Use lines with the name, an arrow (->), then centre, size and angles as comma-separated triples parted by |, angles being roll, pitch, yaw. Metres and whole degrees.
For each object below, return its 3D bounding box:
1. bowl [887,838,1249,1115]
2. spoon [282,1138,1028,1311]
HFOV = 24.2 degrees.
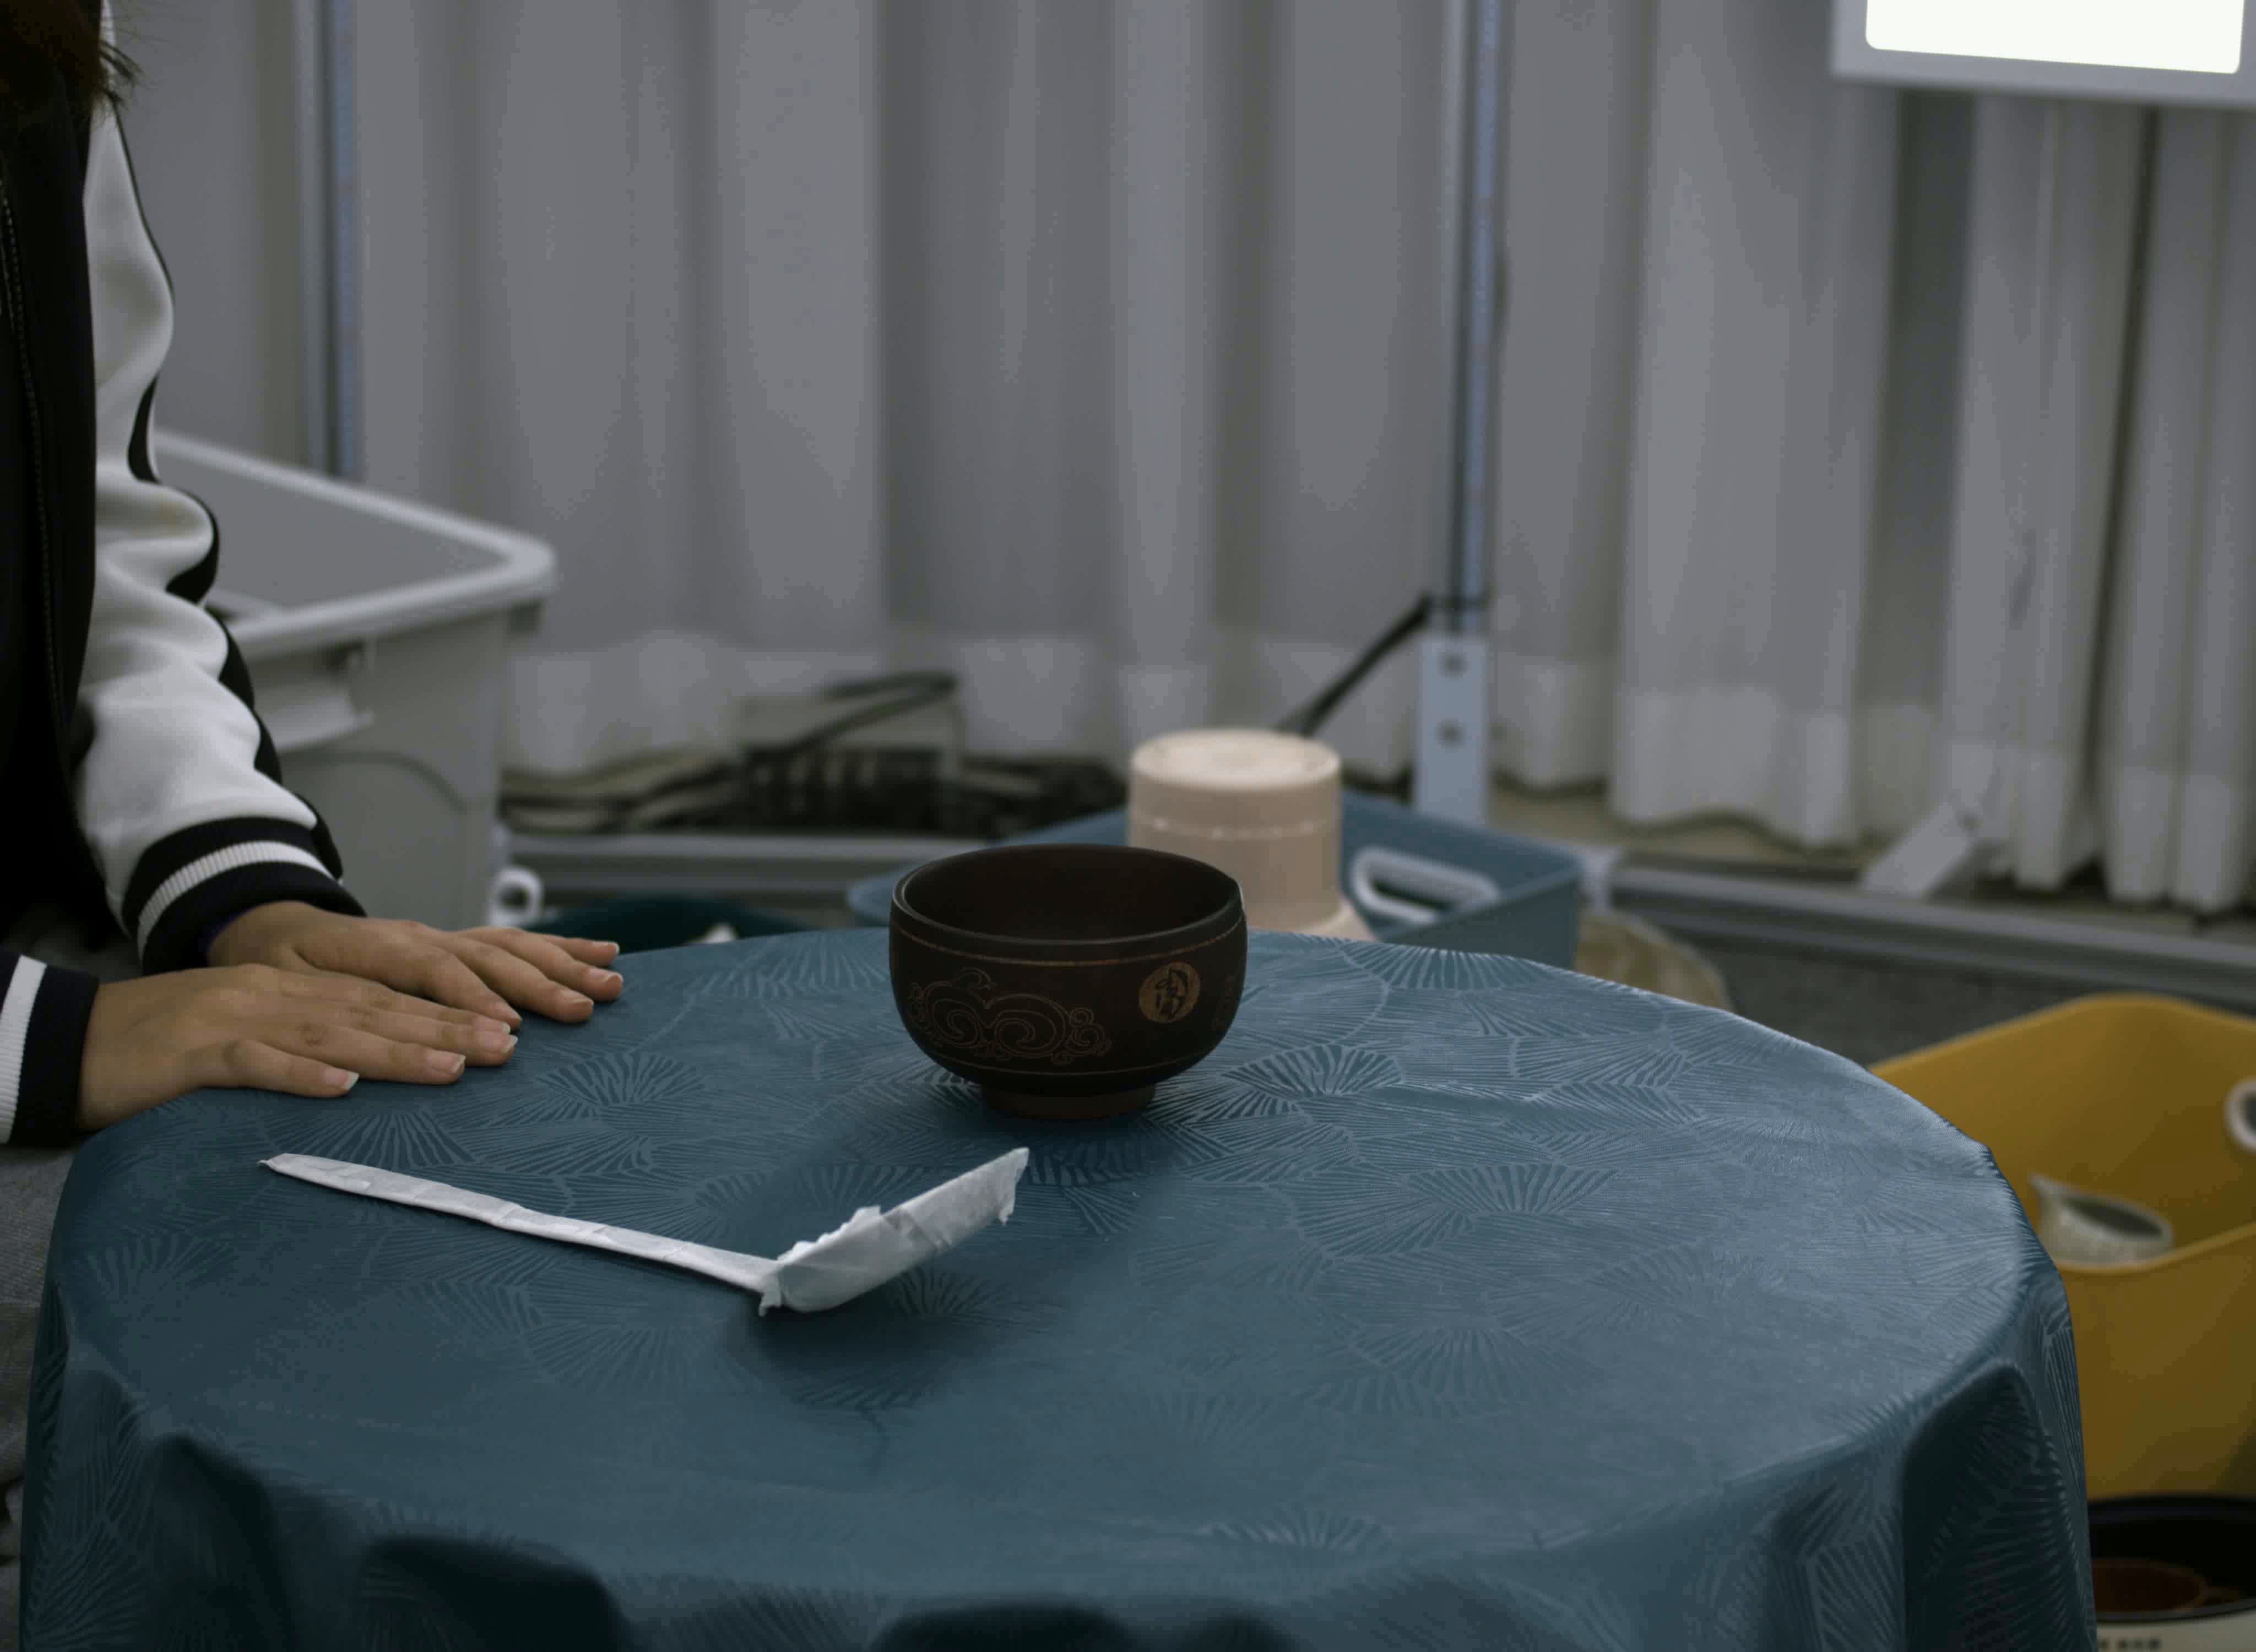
bowl -> -0.019, 0.052, 1.701 | 0.117, 0.070, 0.117 | 1, 15, 0
spoon -> -0.148, 0.097, 1.565 | 0.274, 0.060, 0.101 | 12, 16, 35
